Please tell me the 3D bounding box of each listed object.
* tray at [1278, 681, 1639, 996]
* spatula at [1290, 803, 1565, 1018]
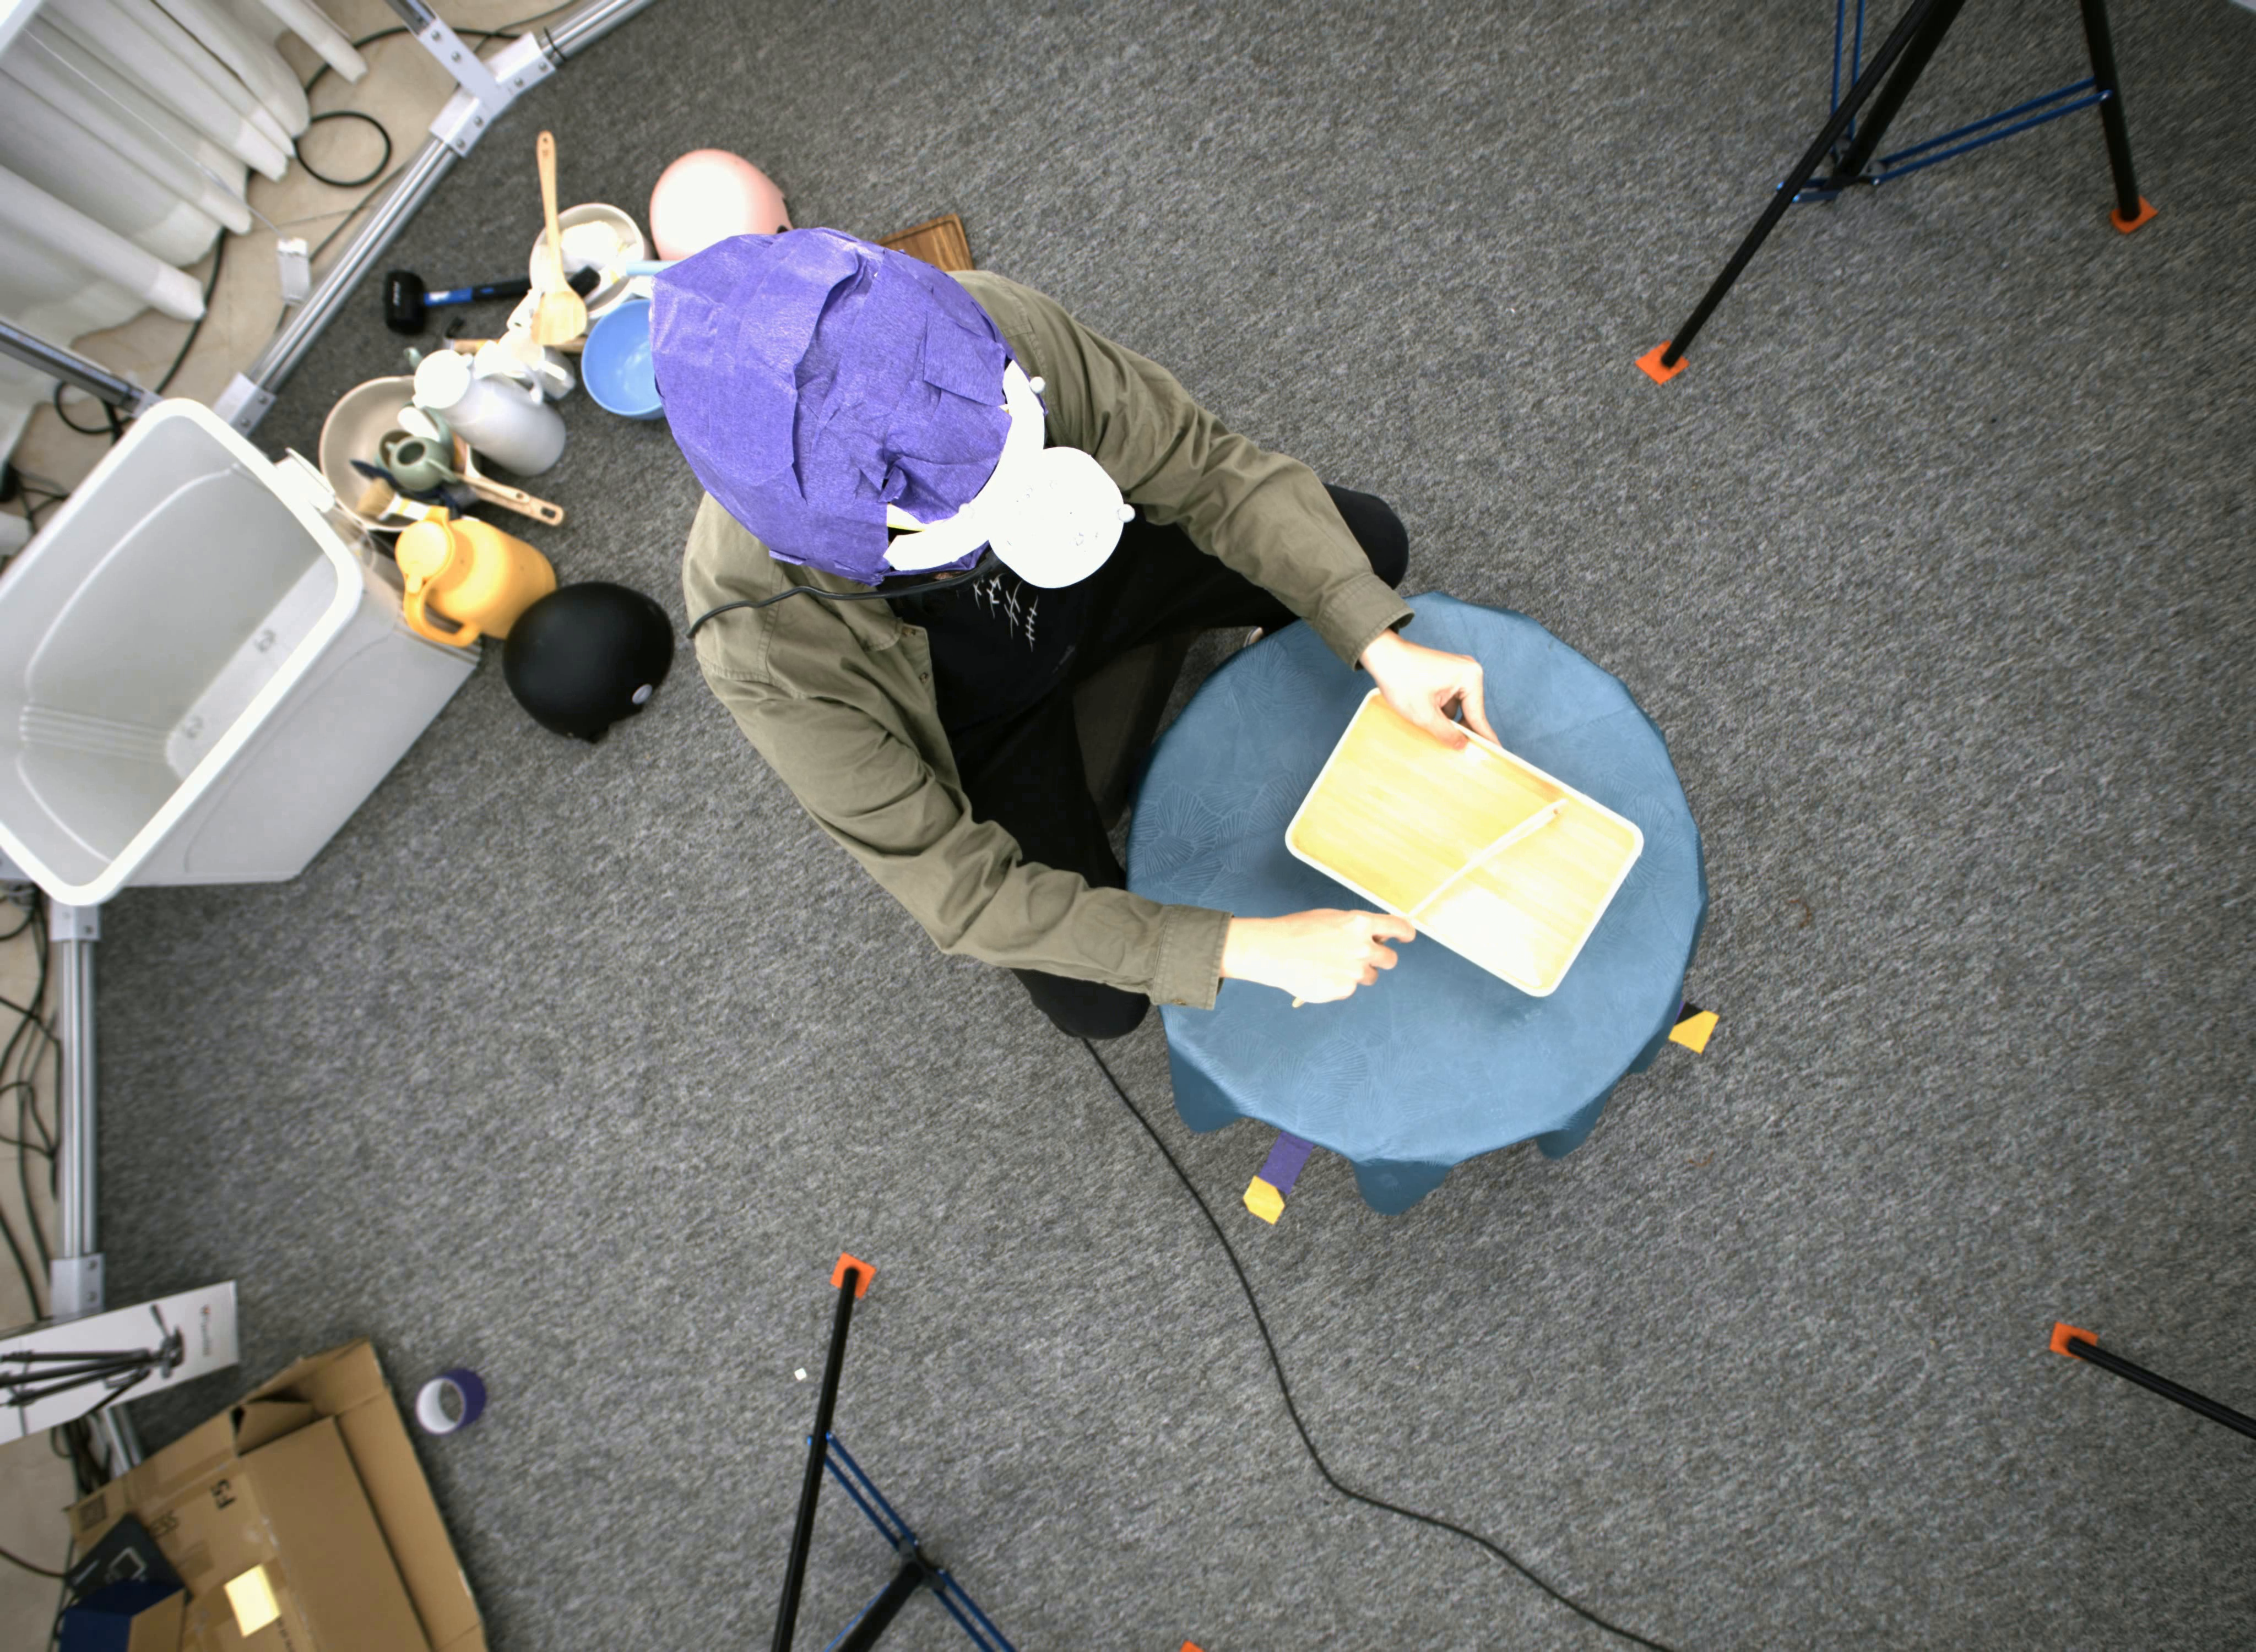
[{"bbox_3d":[0.316,0.009,1.331,0.300,0.027,0.193,31,98,8],"label":"tray"},{"bbox_3d":[0.279,0.075,1.272,0.327,0.081,0.016,-38,76,-4],"label":"spatula"}]
